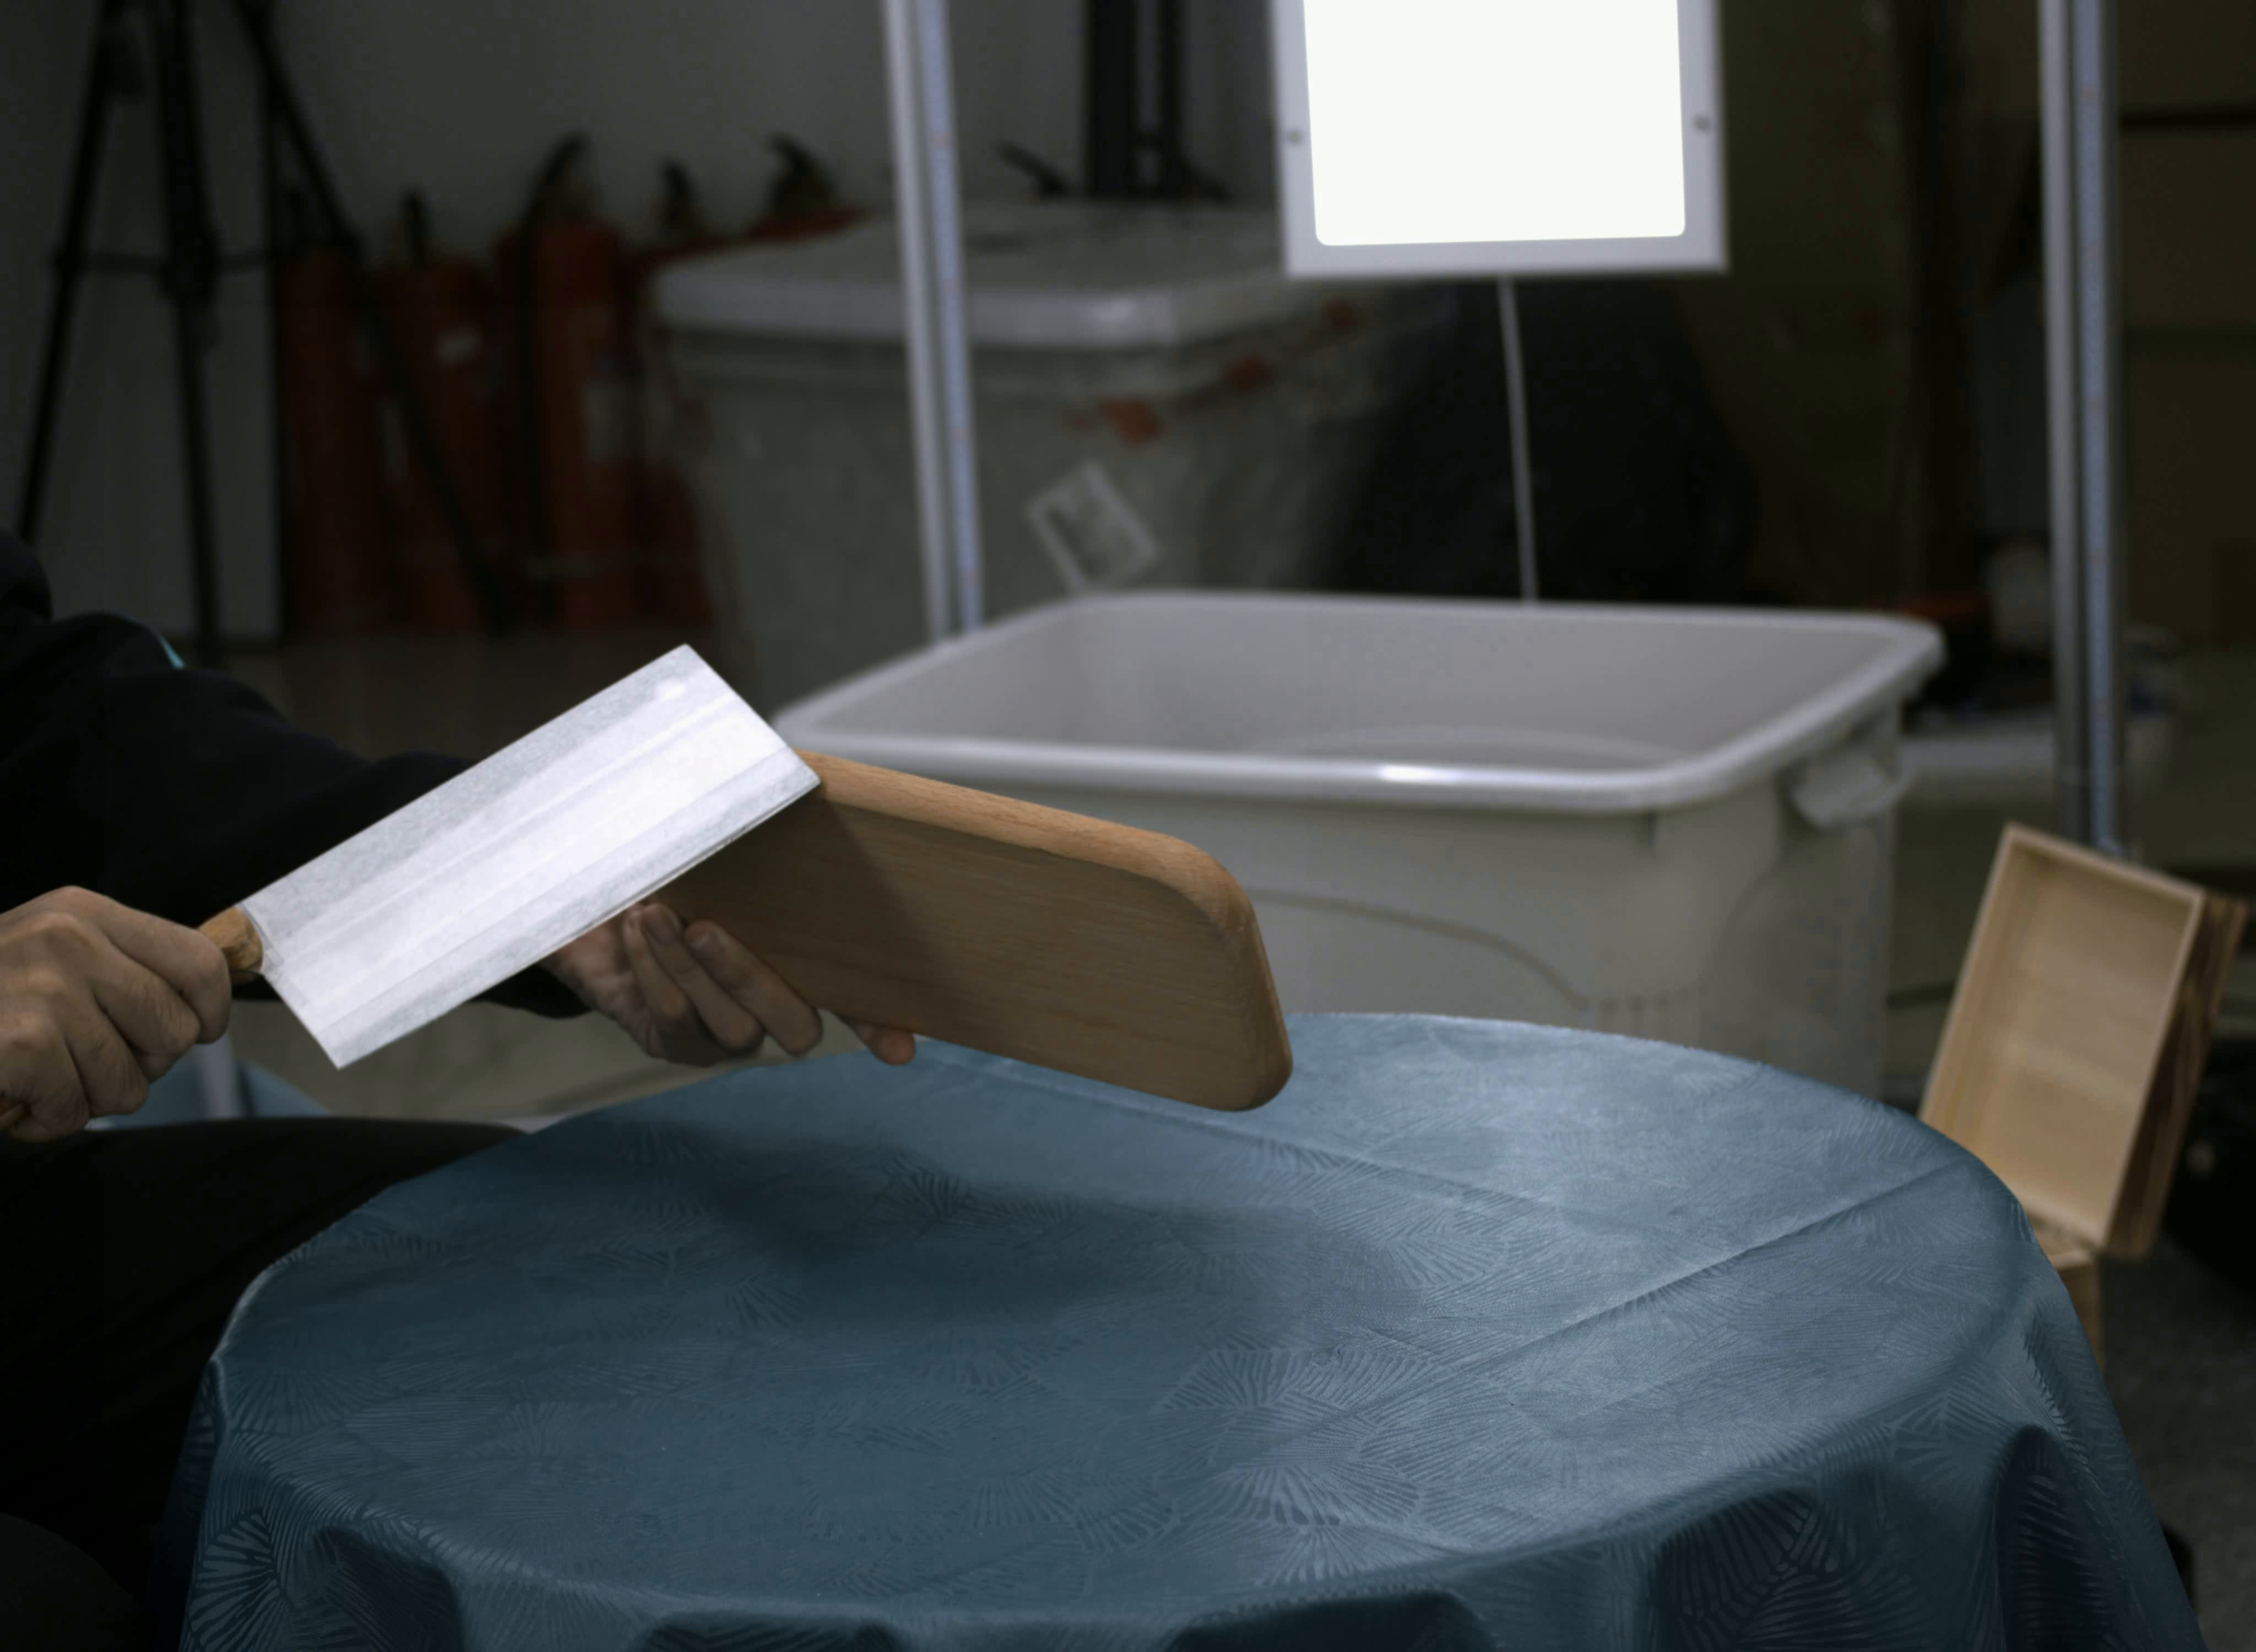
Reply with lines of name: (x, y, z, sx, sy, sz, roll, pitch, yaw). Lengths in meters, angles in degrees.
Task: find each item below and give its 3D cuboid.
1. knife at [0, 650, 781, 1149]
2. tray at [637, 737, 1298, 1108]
knife: (-0.252, 0.037, 1.831, 0.302, 0.021, 0.094, -32, 50, -15)
tray: (-0.063, 0.032, 1.873, 0.255, 0.130, 0.022, 10, 47, 29)
